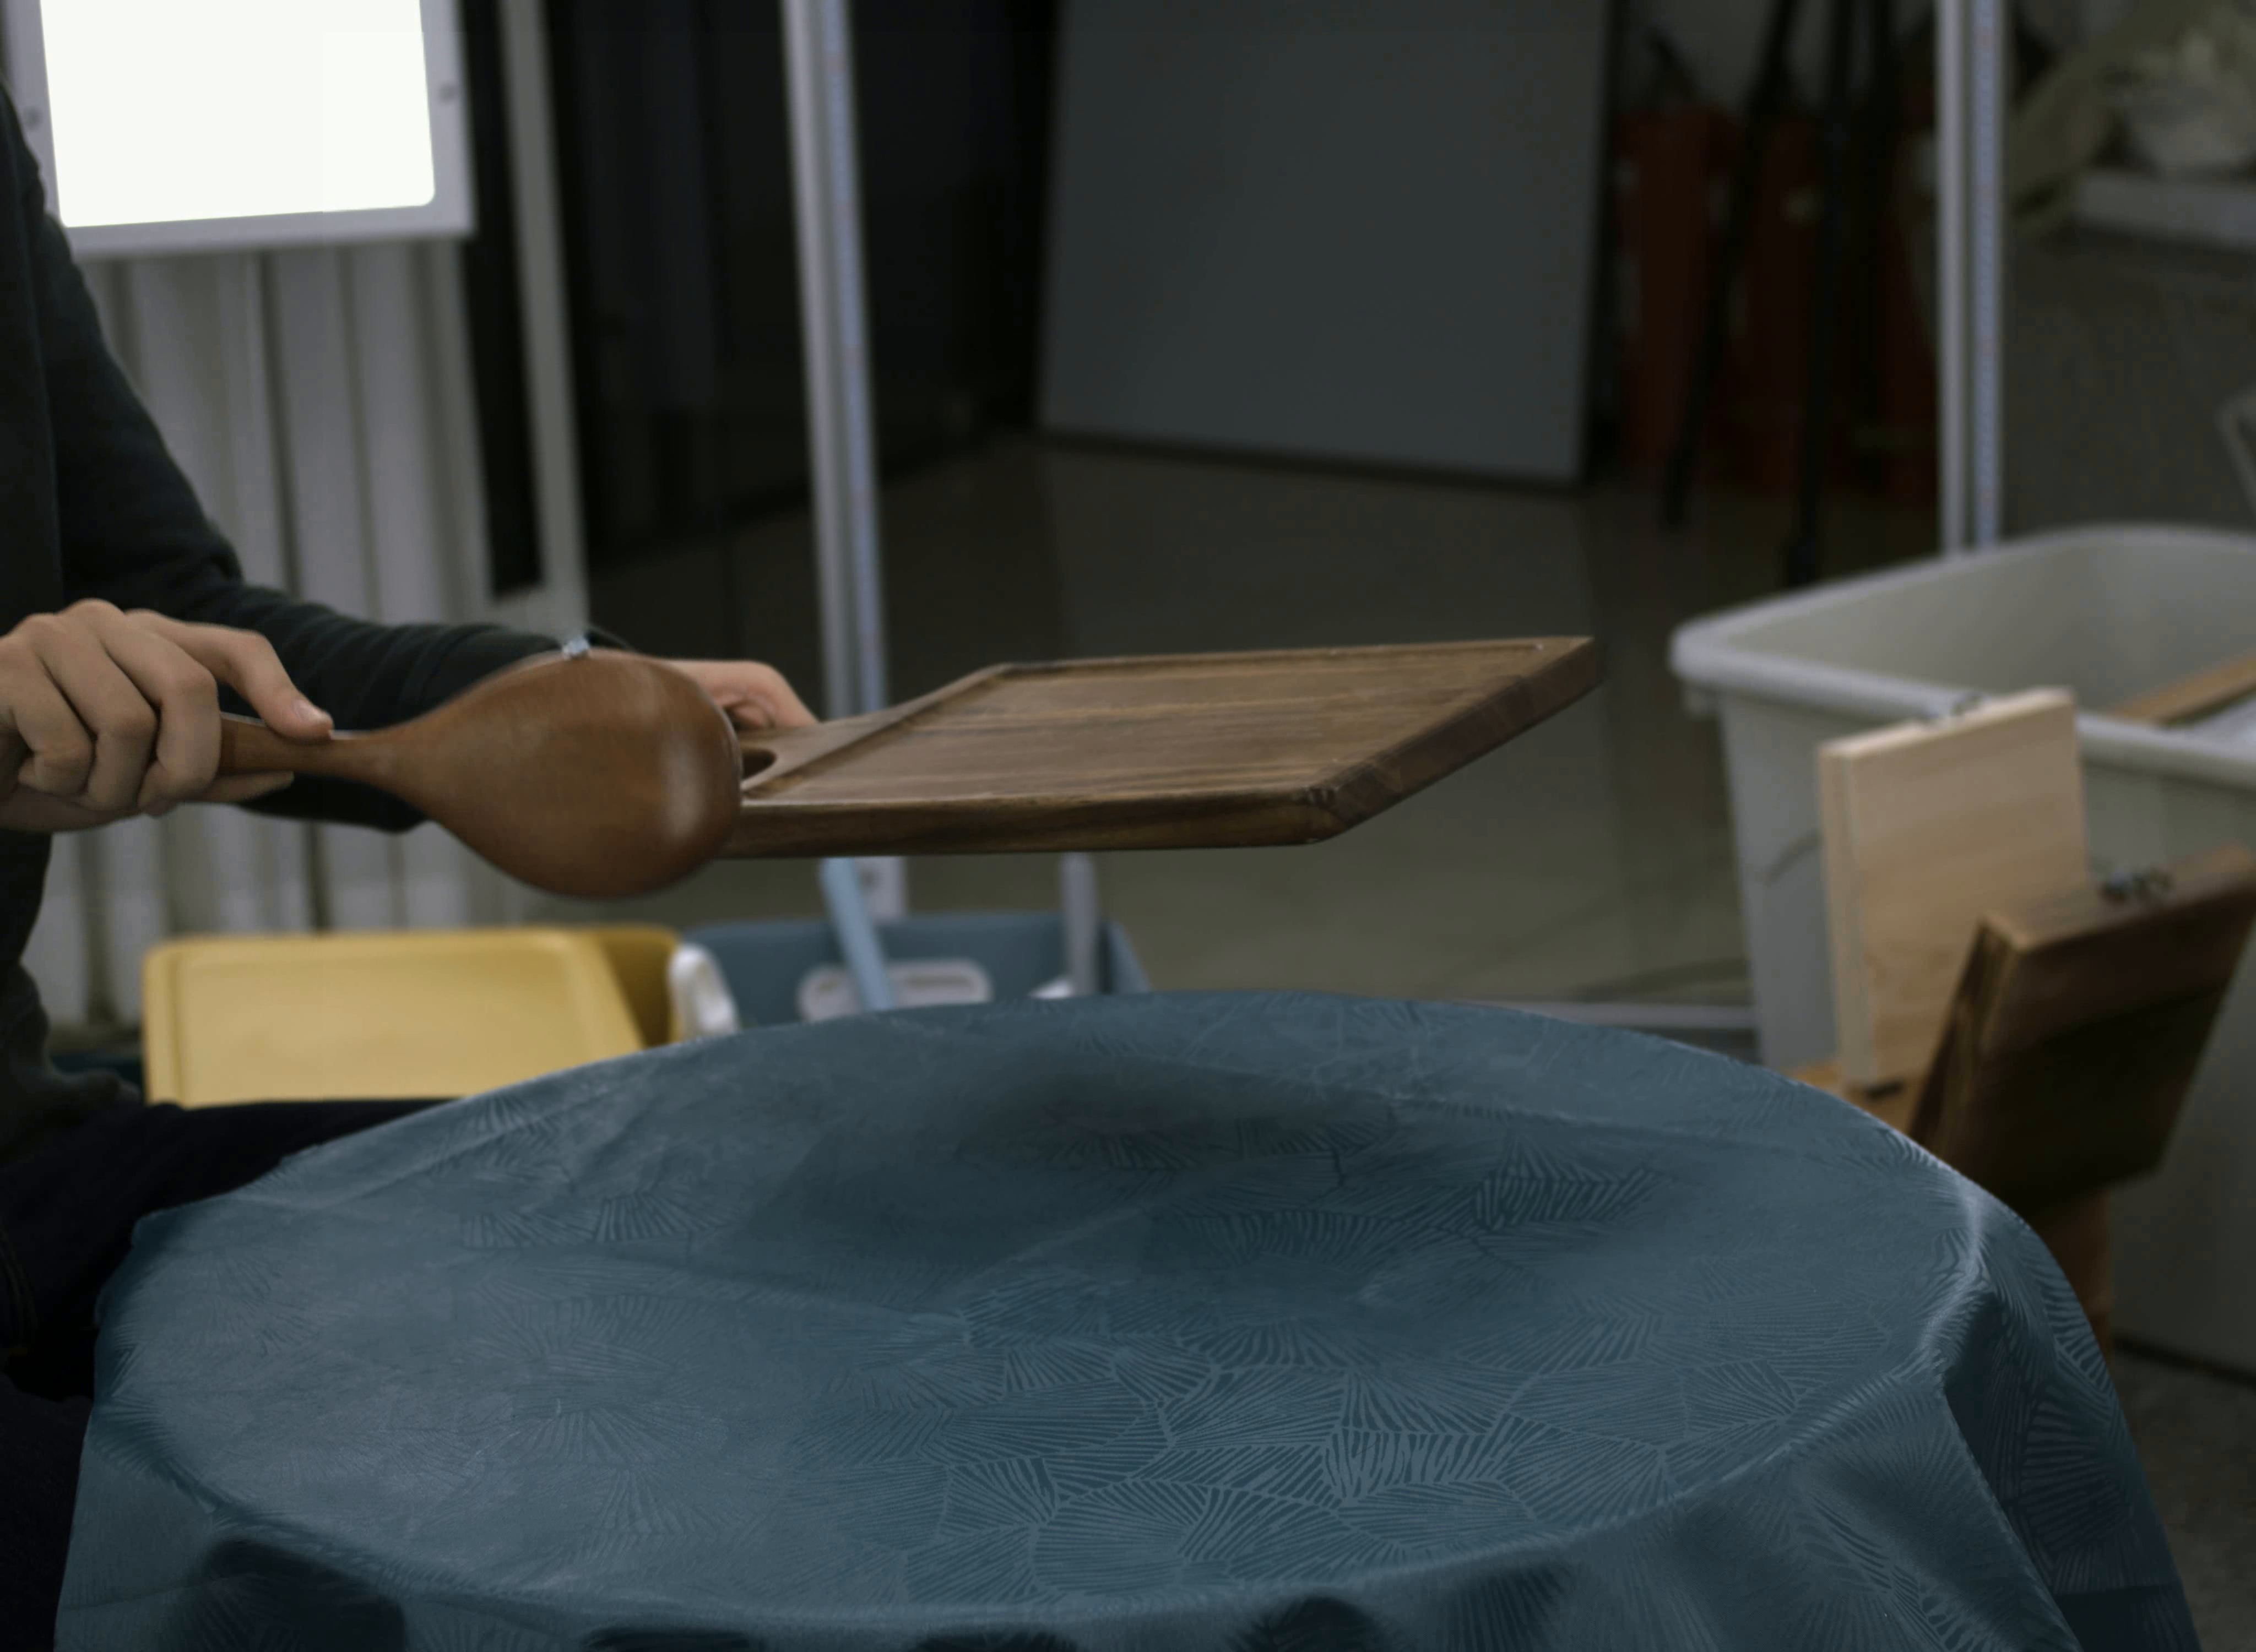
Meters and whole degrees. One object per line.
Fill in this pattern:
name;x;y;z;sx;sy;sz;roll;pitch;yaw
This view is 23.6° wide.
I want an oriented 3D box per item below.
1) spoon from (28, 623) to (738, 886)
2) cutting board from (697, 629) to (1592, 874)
spoon;-0.217;-0.024;1.567;0.215;0.076;0.017;3;7;14
cutting board;-0.034;-0.024;1.836;0.354;0.023;0.198;-3;16;34
